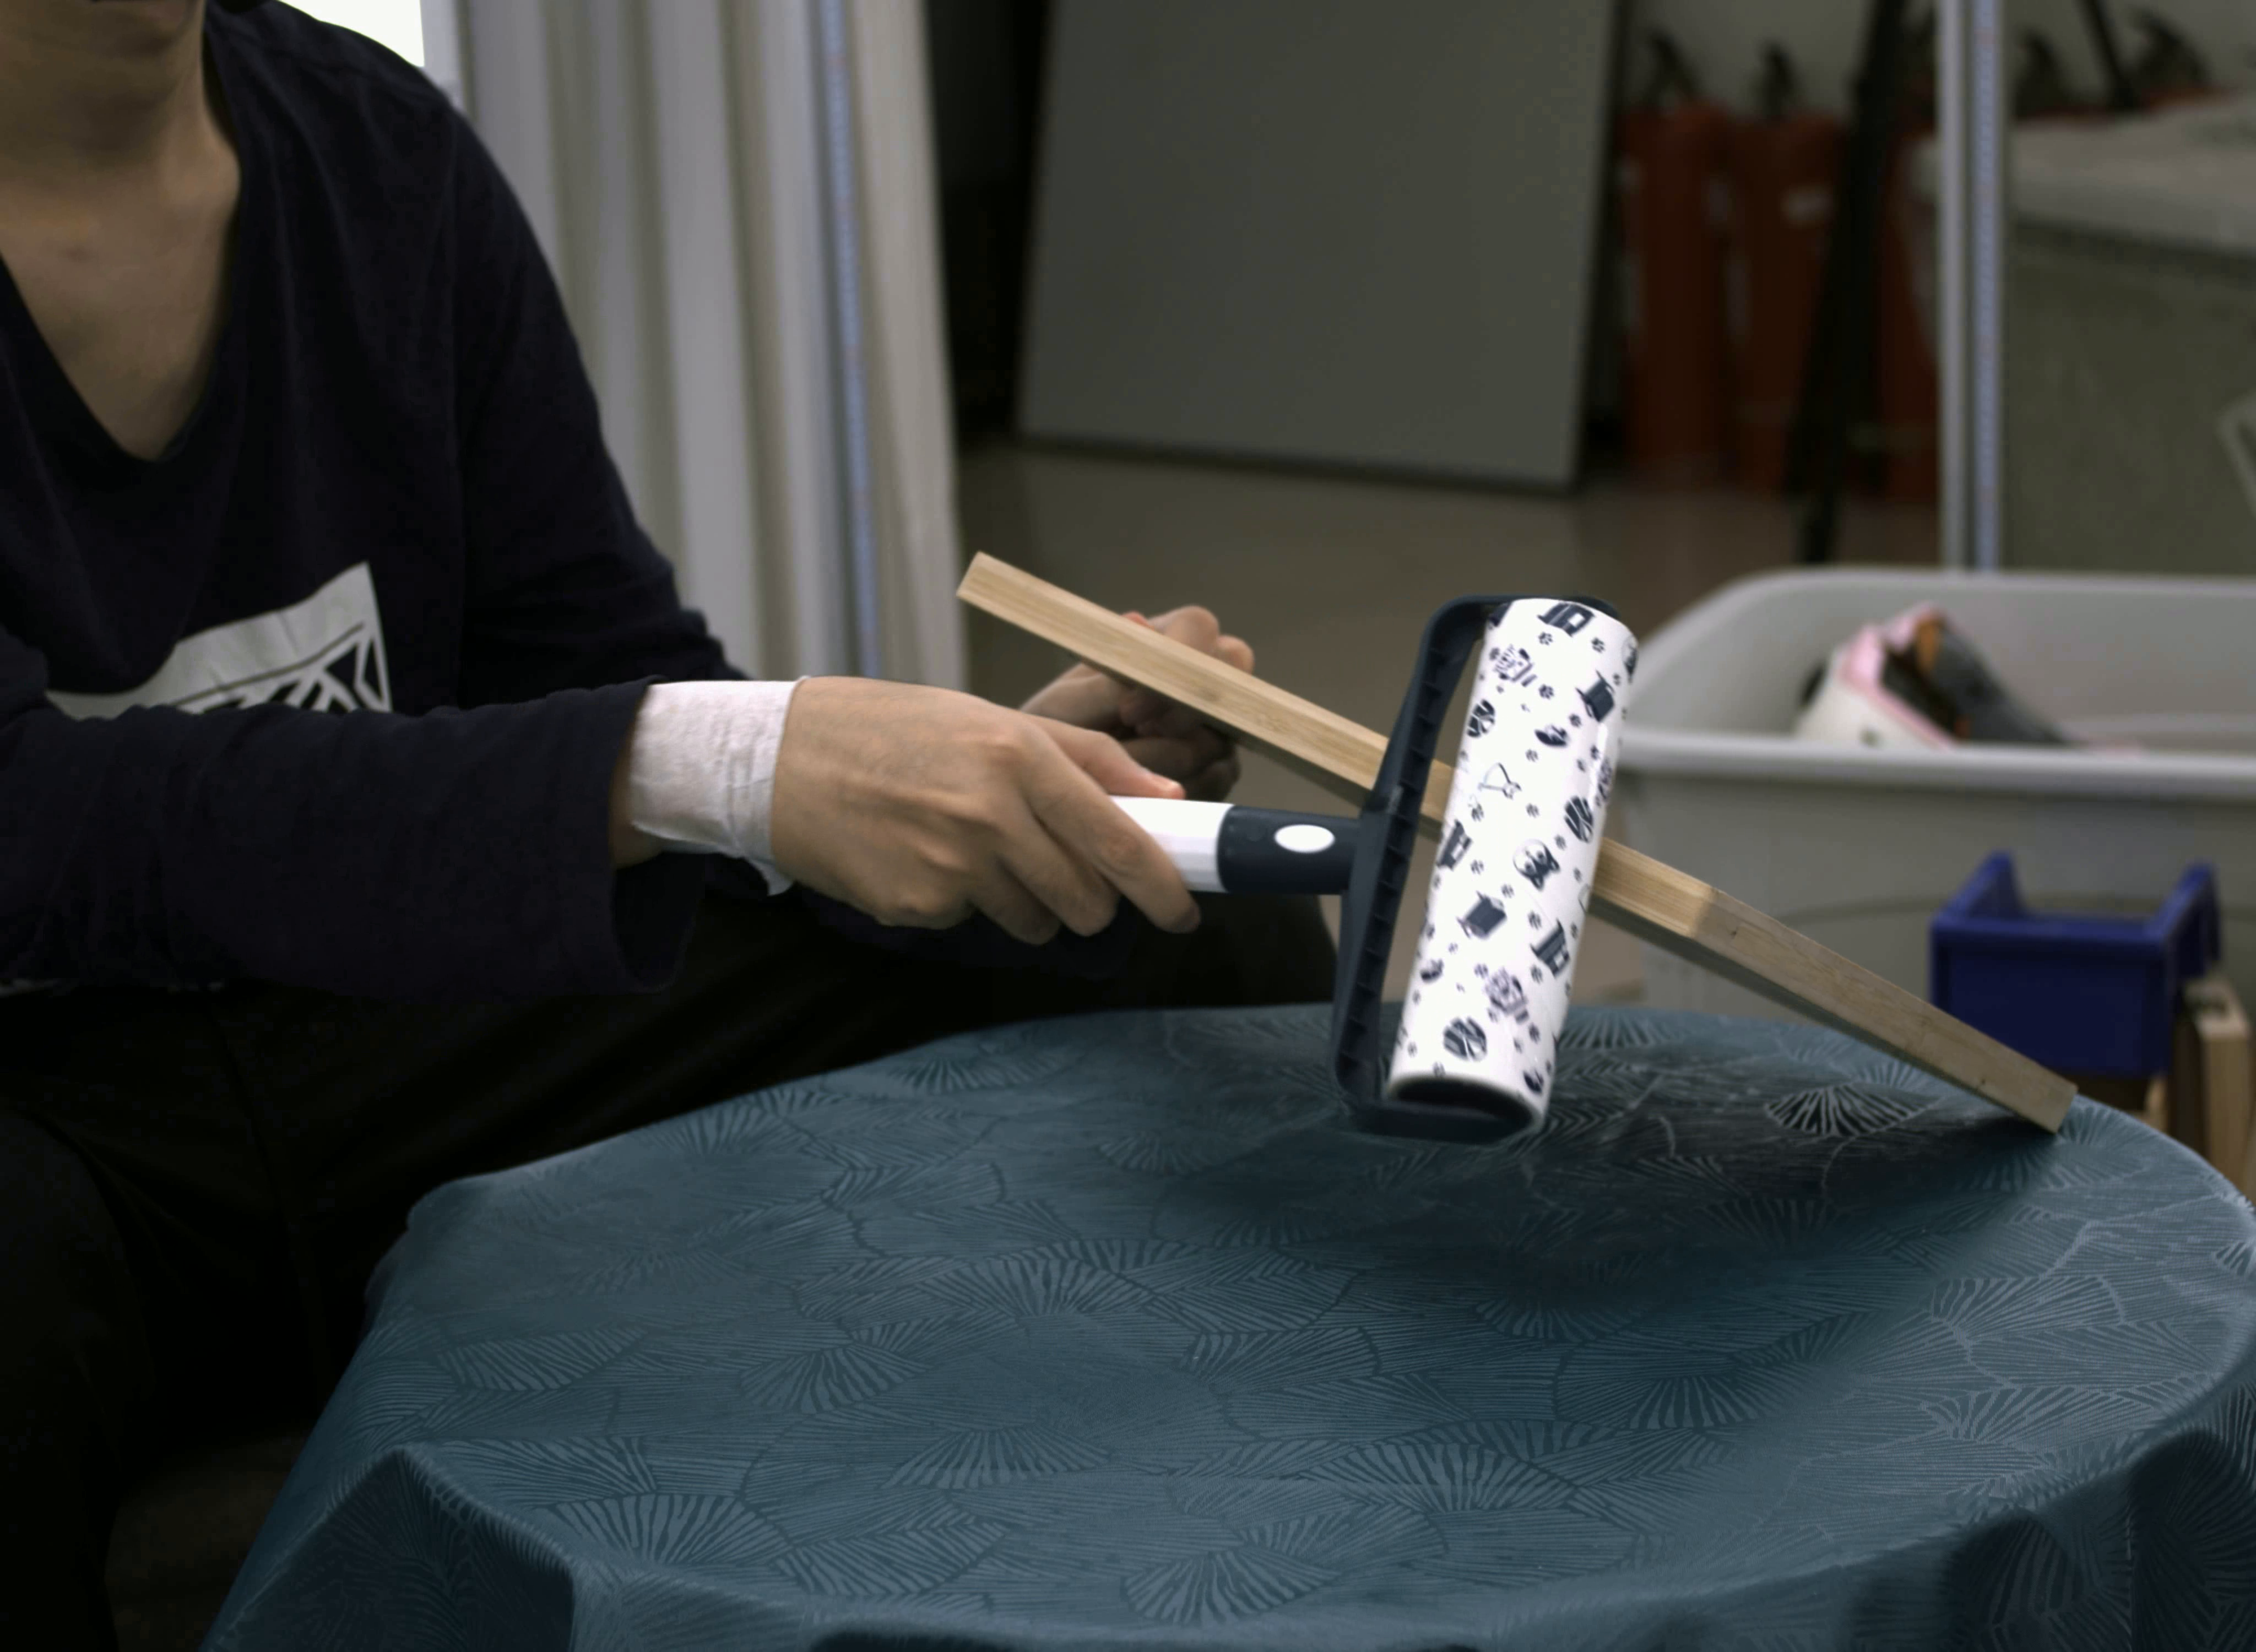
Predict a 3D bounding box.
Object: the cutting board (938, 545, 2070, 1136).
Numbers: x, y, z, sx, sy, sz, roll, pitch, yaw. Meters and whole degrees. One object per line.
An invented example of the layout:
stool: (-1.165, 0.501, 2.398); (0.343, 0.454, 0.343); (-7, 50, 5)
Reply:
cutting board: (0.122, 0.003, 1.800); (0.352, 0.024, 0.246); (26, -1, 42)

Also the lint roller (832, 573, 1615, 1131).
lint roller: (0.019, 0.004, 1.646); (0.247, 0.178, 0.050); (1, -27, 23)
